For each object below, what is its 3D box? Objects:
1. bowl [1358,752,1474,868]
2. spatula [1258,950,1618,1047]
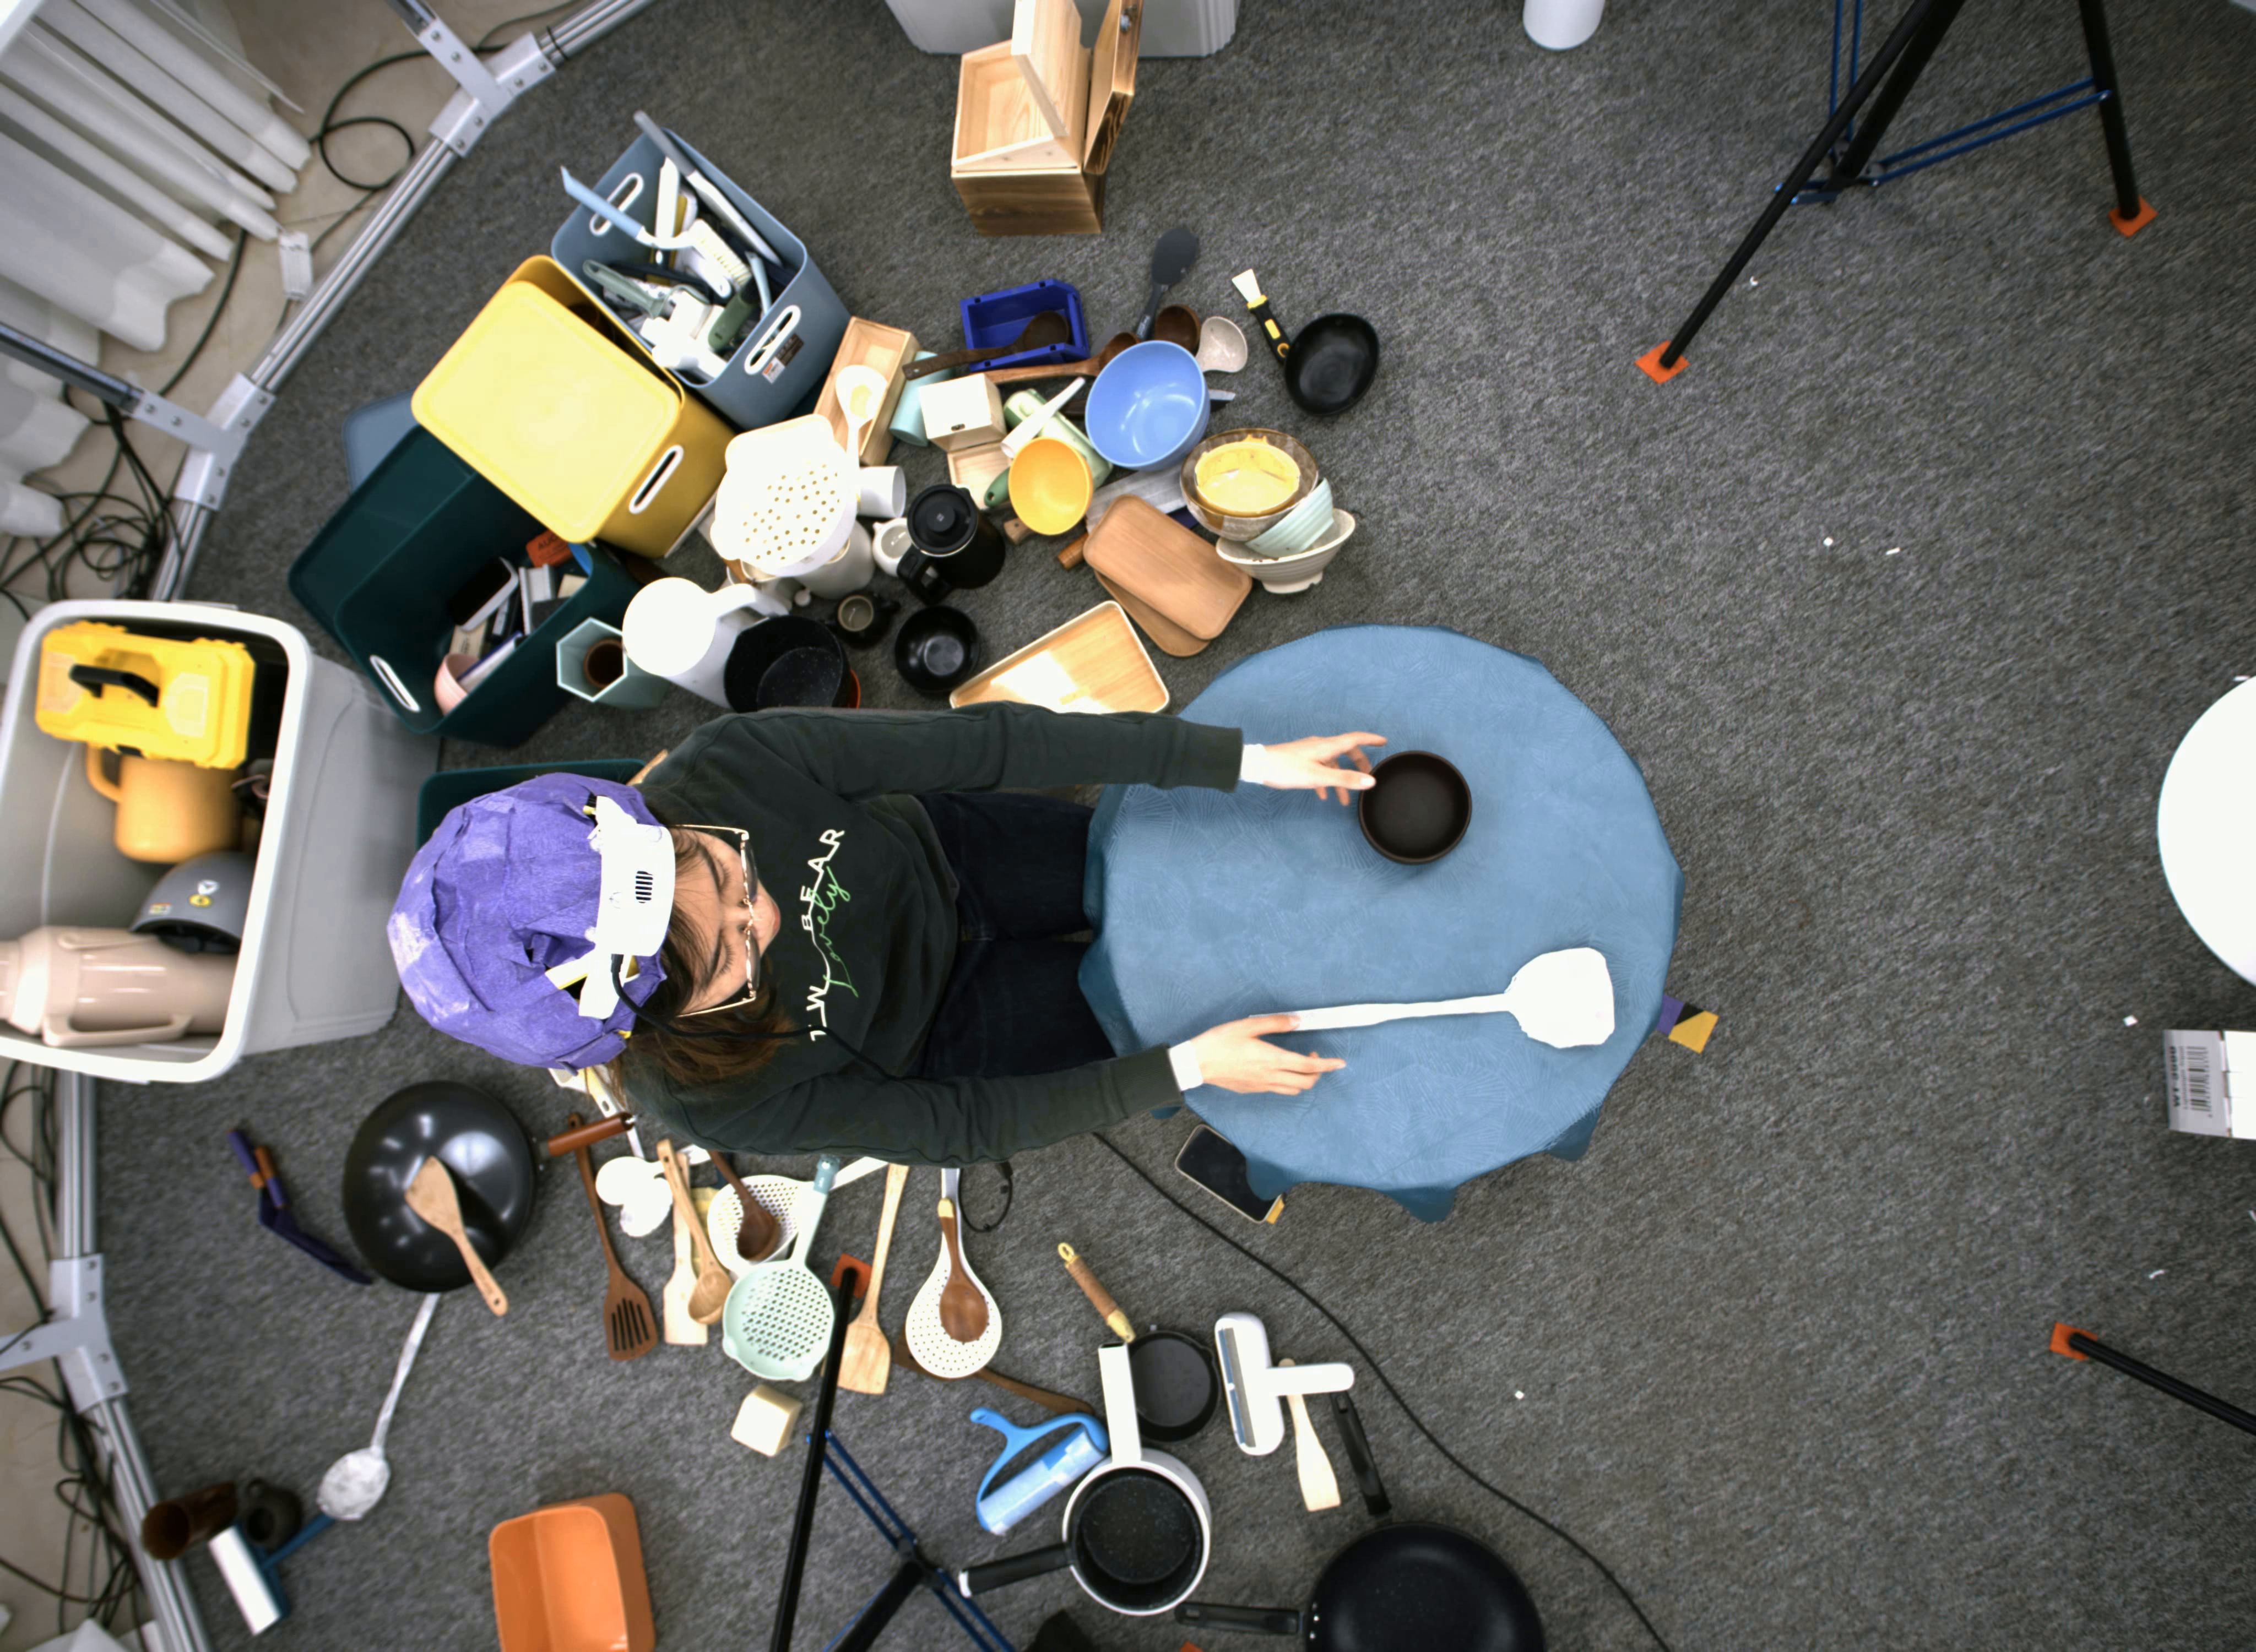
[{"bbox_3d":[0.298,-0.015,1.429,0.118,0.070,0.117,-1,84,11],"label":"bowl"},{"bbox_3d":[0.315,0.186,1.429,0.366,0.045,0.098,-5,87,10],"label":"spatula"}]
